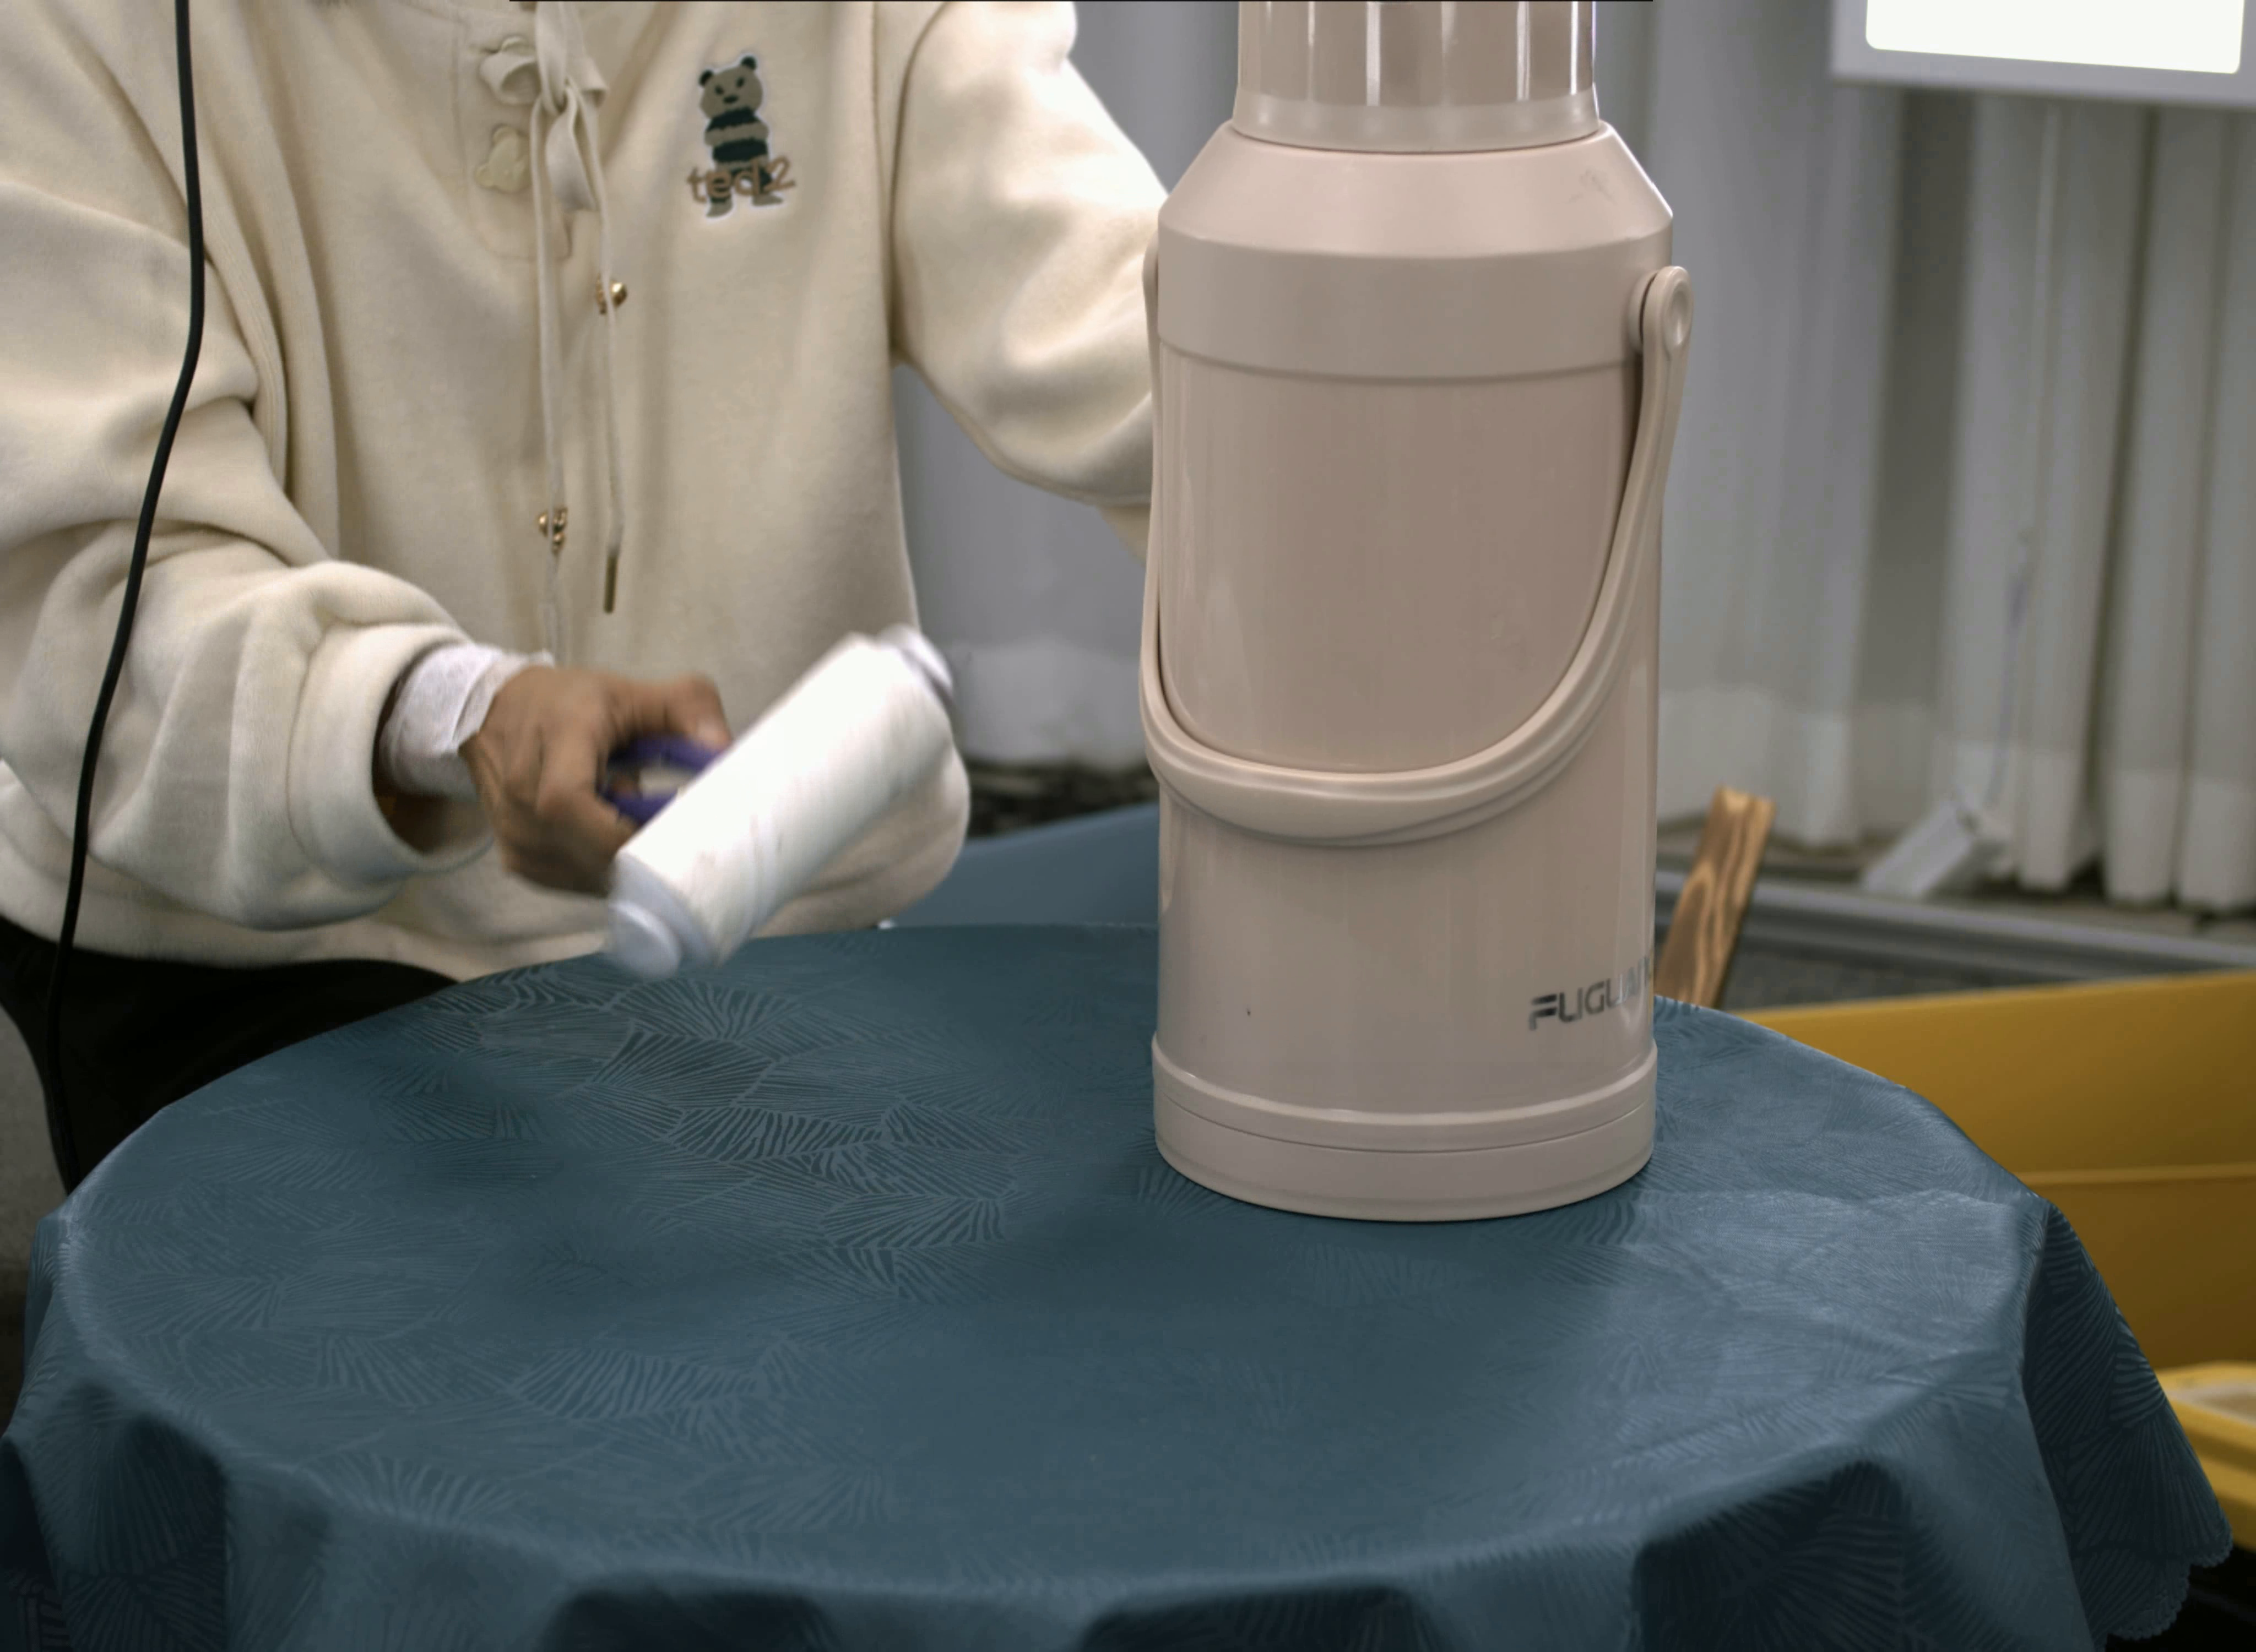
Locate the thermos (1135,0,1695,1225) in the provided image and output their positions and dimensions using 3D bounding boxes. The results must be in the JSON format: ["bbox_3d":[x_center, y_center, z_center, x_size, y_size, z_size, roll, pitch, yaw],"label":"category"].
[{"bbox_3d":[0.094,-0.094,1.624,0.173,0.409,0.207,8,18,27],"label":"thermos"}]

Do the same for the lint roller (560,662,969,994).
[{"bbox_3d":[-0.136,-0.013,1.628,0.133,0.051,0.178,-40,30,-18],"label":"lint roller"}]
